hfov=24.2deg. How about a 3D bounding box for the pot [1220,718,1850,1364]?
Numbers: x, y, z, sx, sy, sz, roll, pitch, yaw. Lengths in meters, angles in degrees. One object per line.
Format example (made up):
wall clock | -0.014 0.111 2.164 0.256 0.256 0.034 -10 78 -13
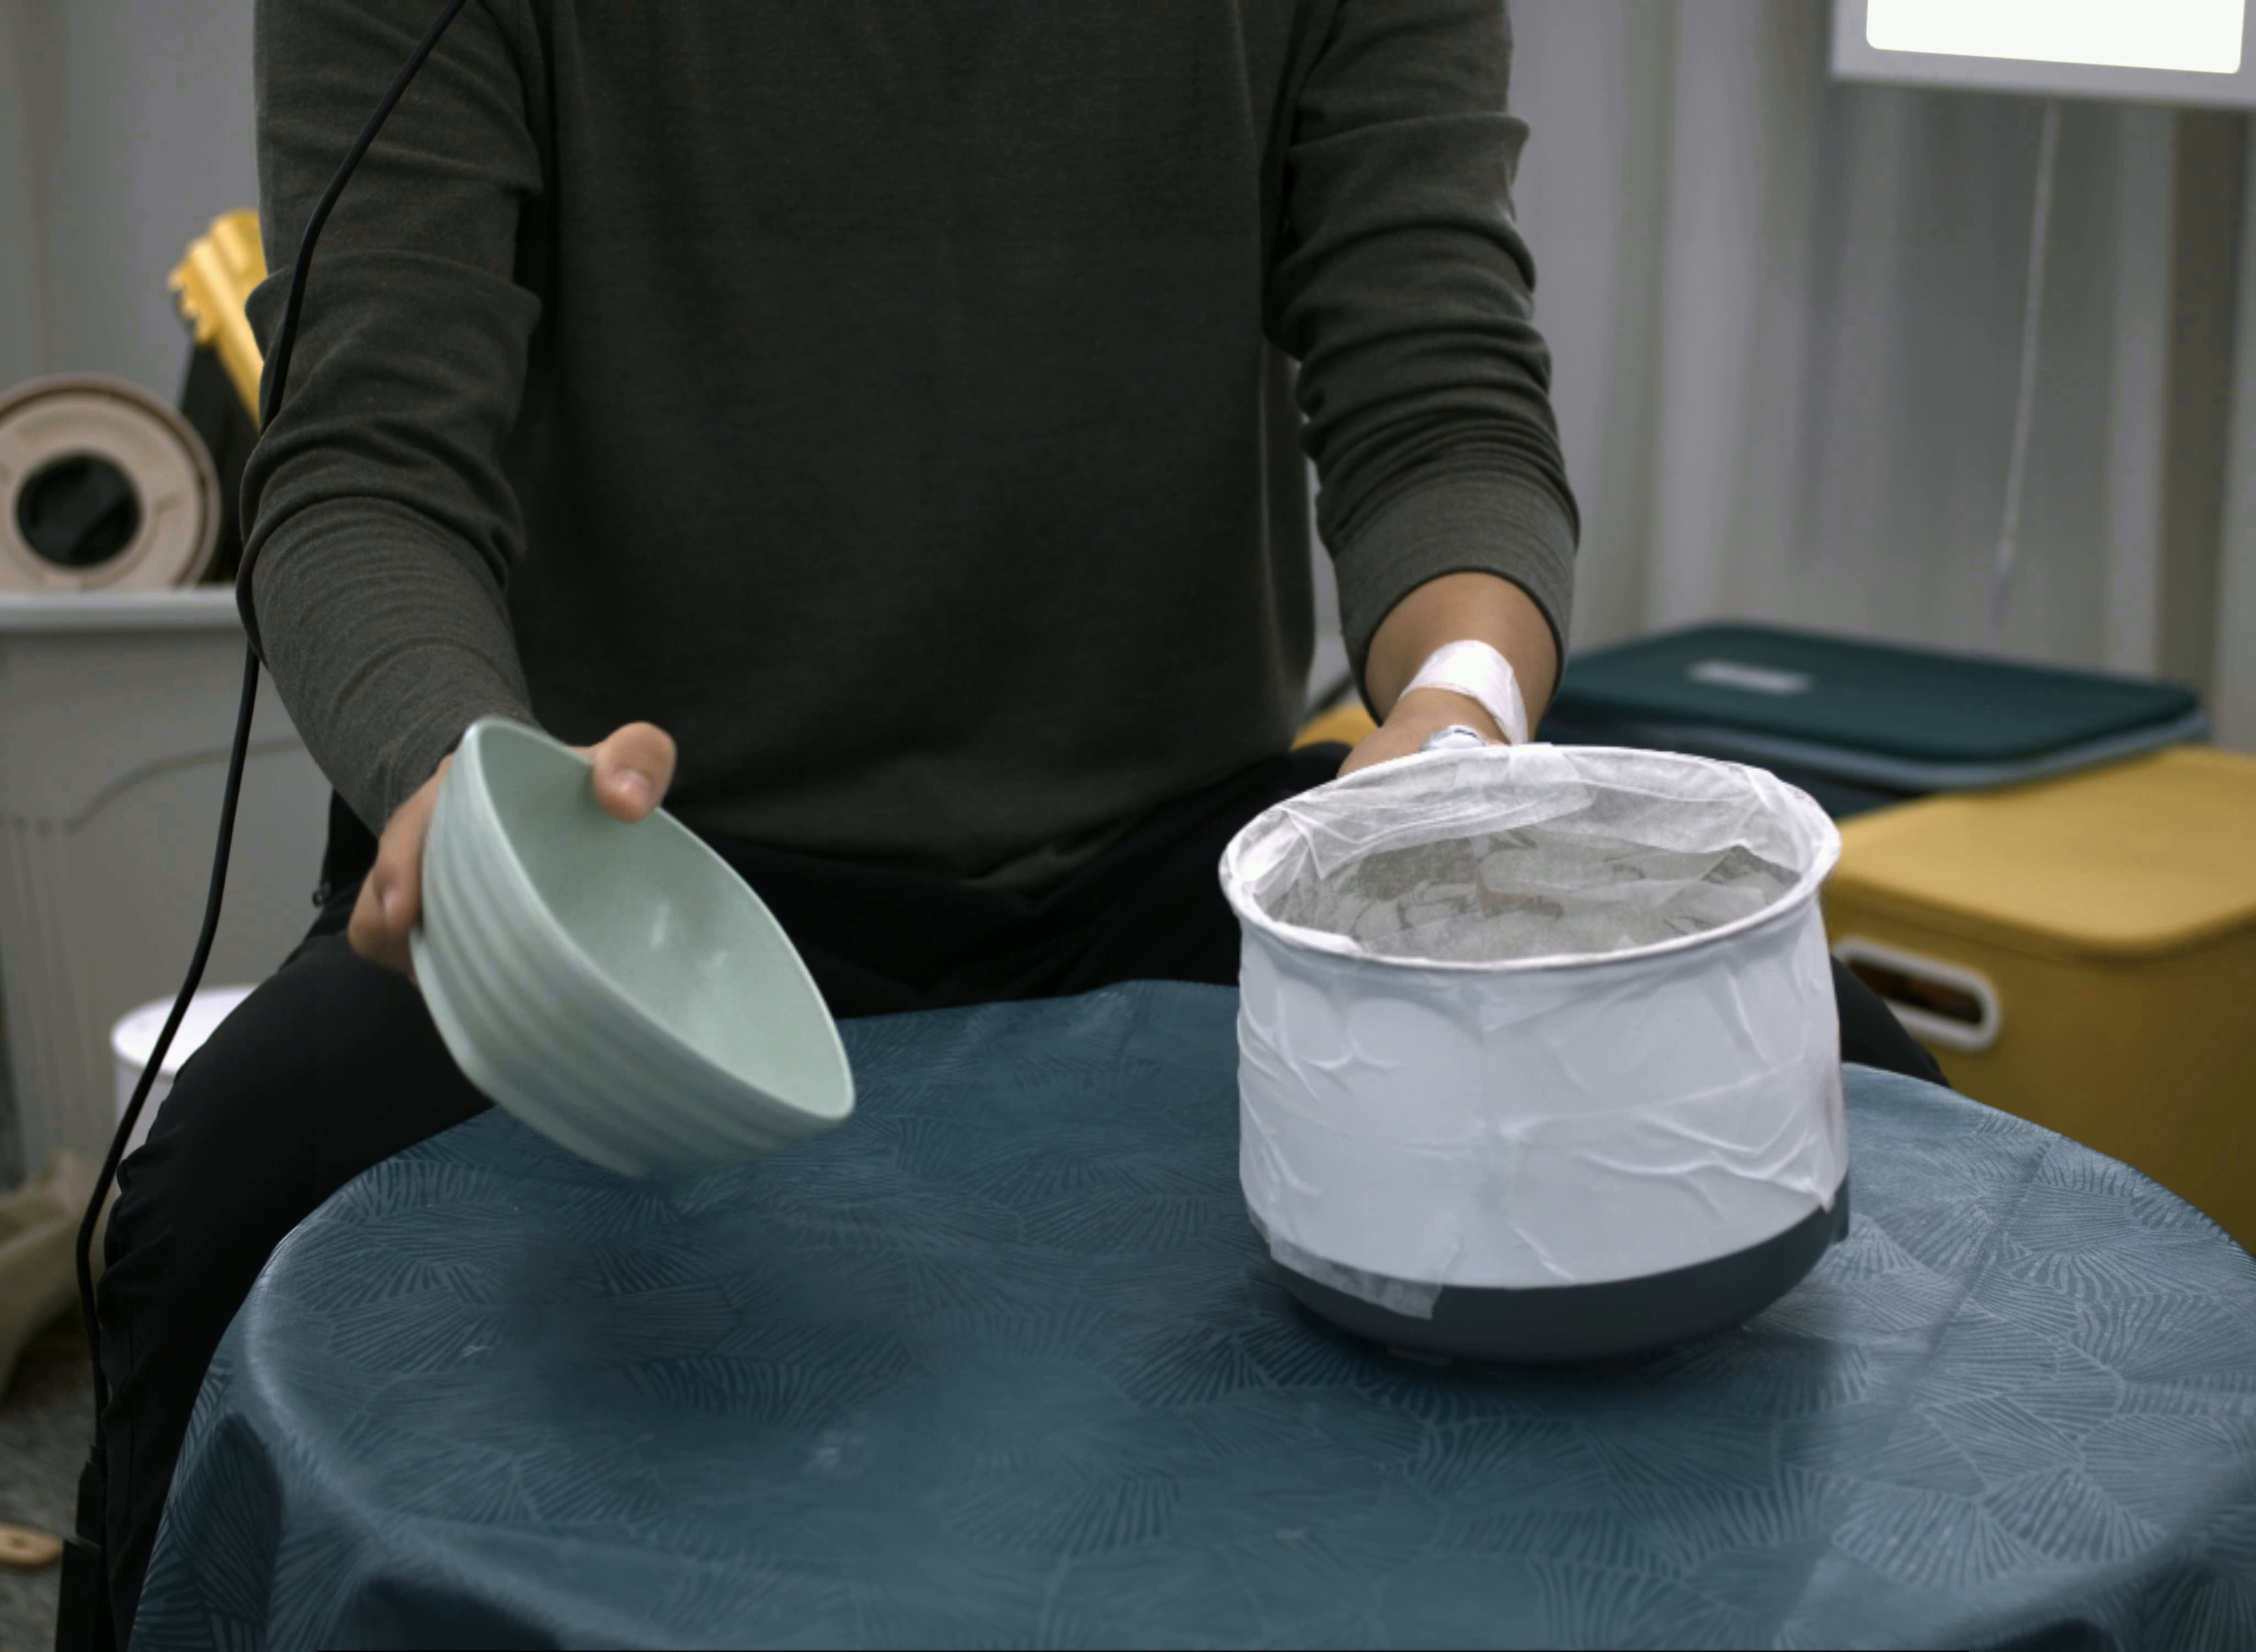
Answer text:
pot | 0.113 0.056 1.539 0.178 0.138 0.231 -7 21 -8

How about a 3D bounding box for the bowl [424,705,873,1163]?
bowl | -0.143 0.040 1.459 0.152 0.058 0.150 37 24 -19
